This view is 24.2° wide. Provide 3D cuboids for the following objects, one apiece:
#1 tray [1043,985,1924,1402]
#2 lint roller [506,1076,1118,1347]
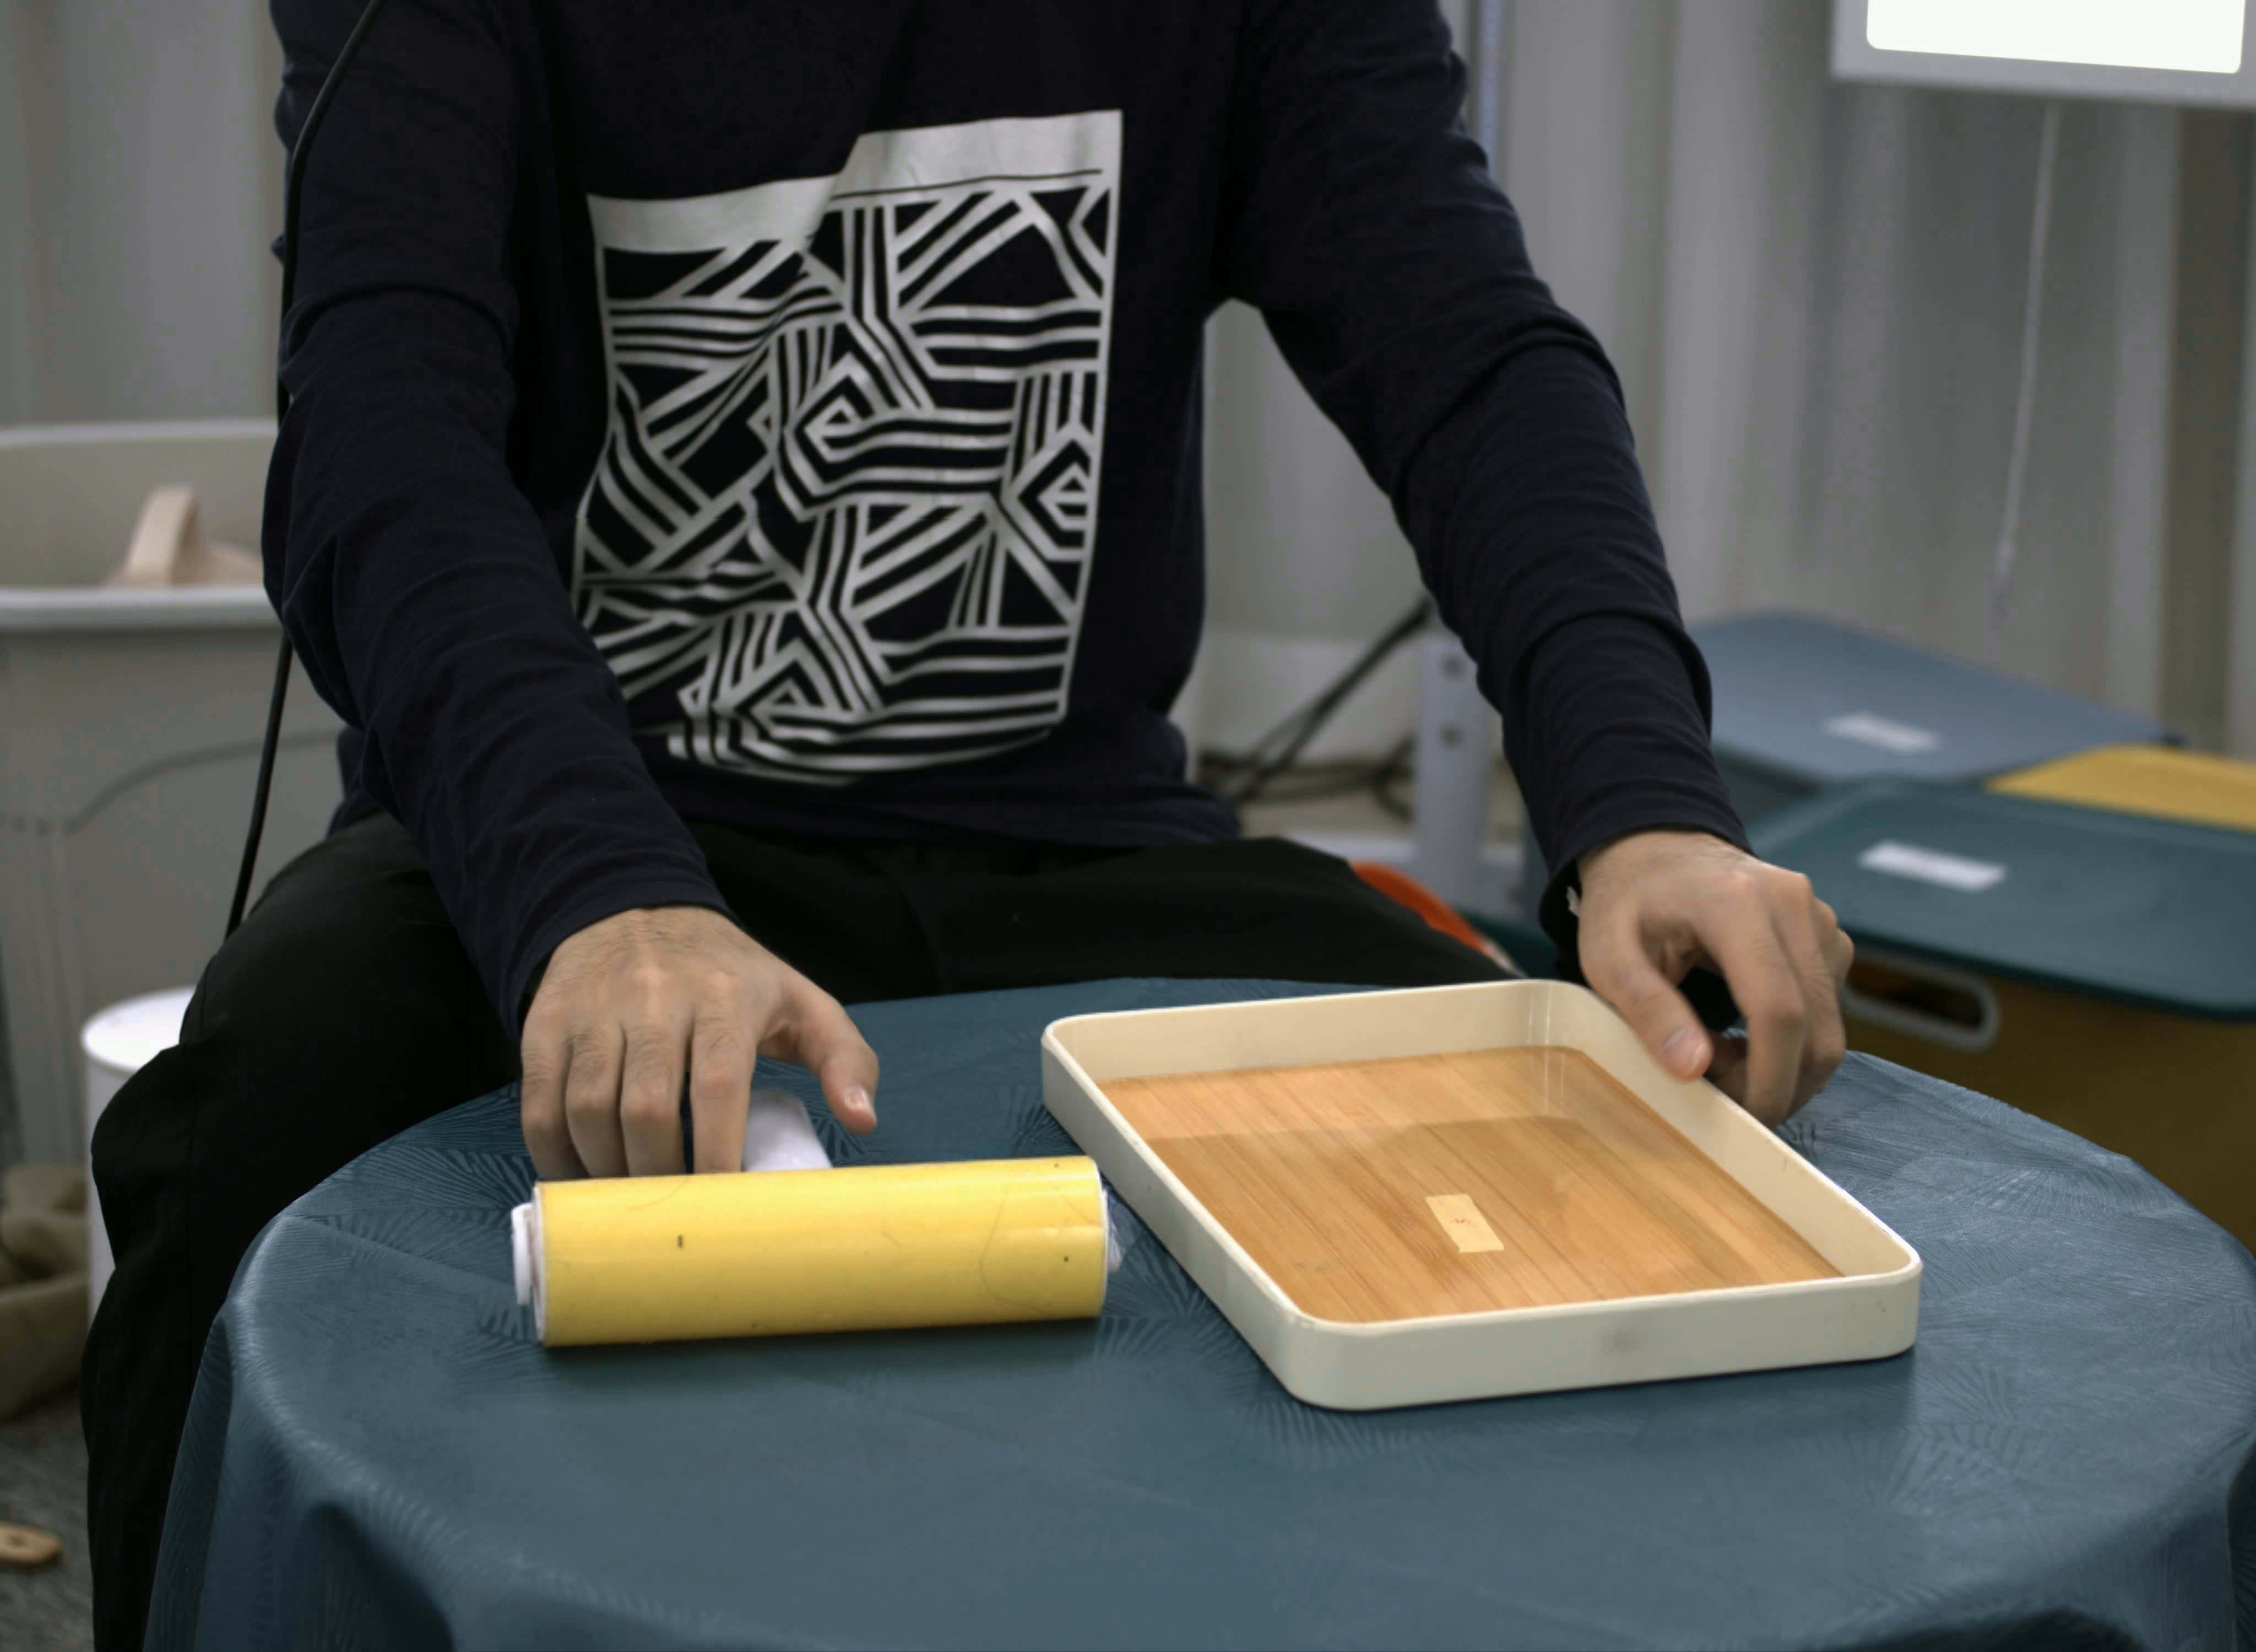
[{"bbox_3d":[0.099,0.106,1.599,0.192,0.027,0.297,-3,15,-16],"label":"tray"},{"bbox_3d":[-0.104,0.098,1.565,0.174,0.052,0.190,-2,22,-12],"label":"lint roller"}]
